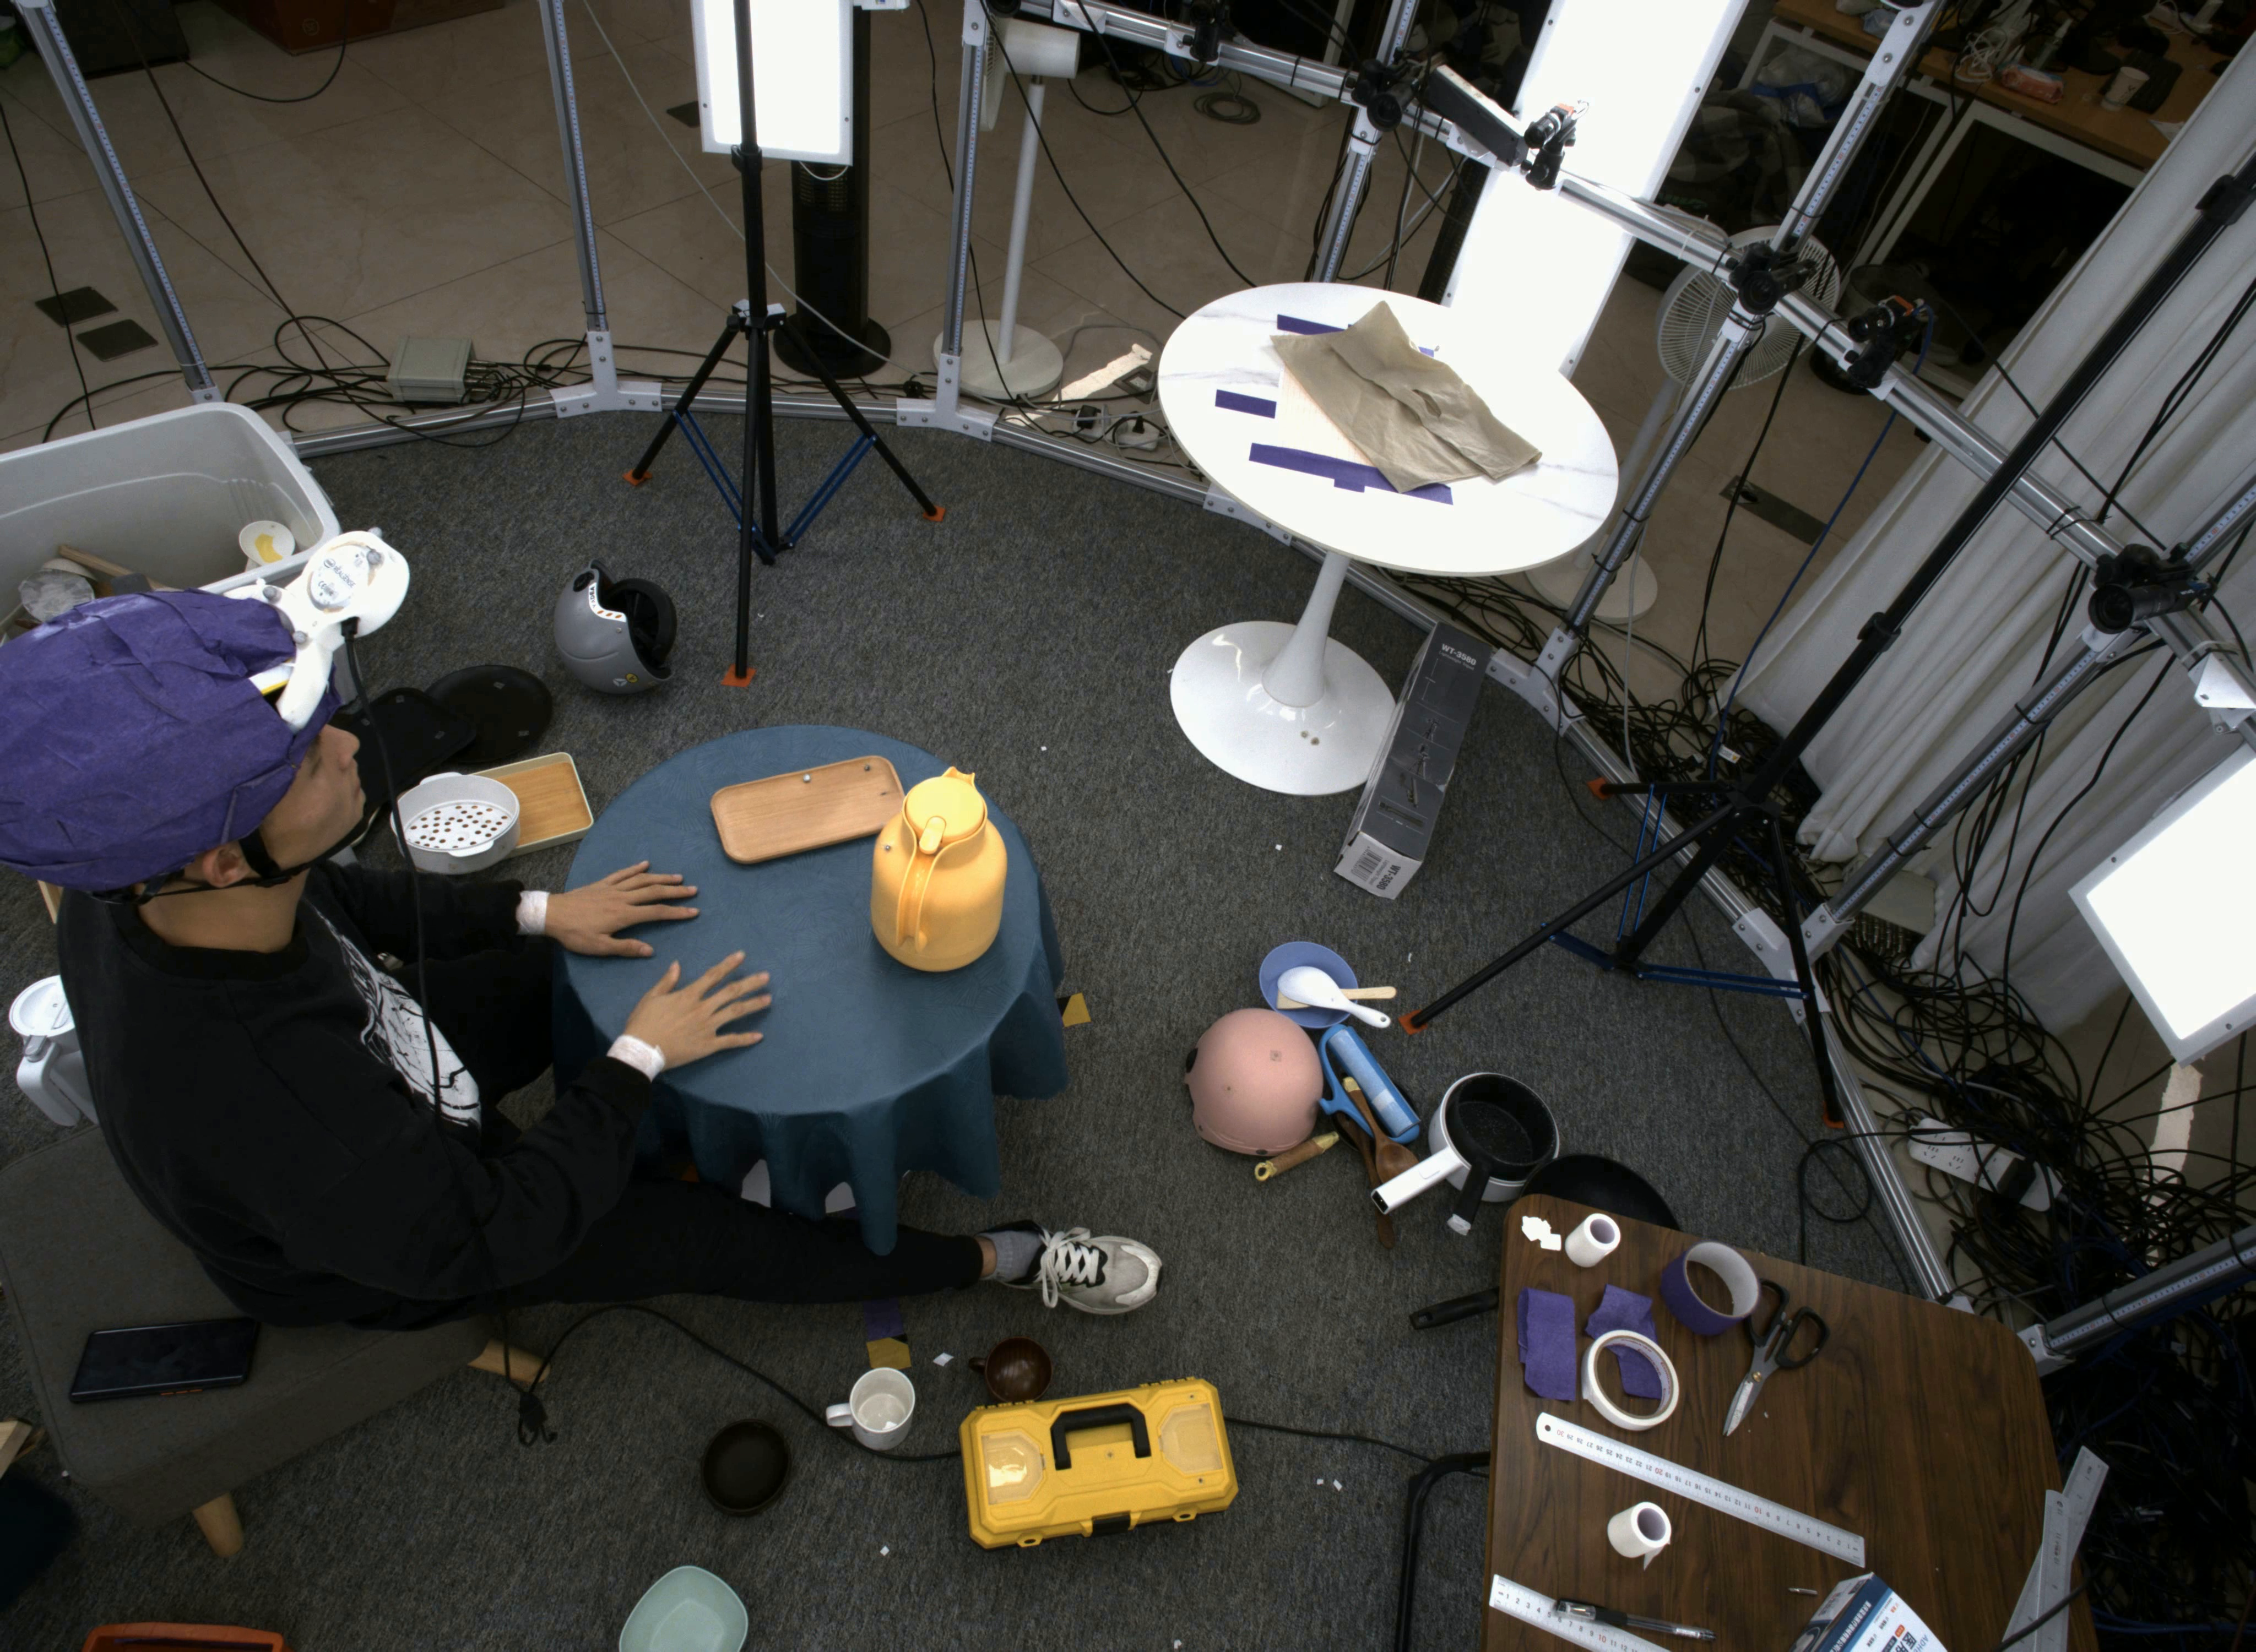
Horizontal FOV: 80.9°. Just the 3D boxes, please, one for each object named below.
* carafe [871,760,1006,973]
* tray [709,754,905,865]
[{"bbox_3d":[-0.234,0.061,1.555,0.161,0.267,0.200,16,49,4],"label":"carafe"},{"bbox_3d":[-0.424,-0.024,1.728,0.252,0.023,0.127,-14,56,-23],"label":"tray"}]
